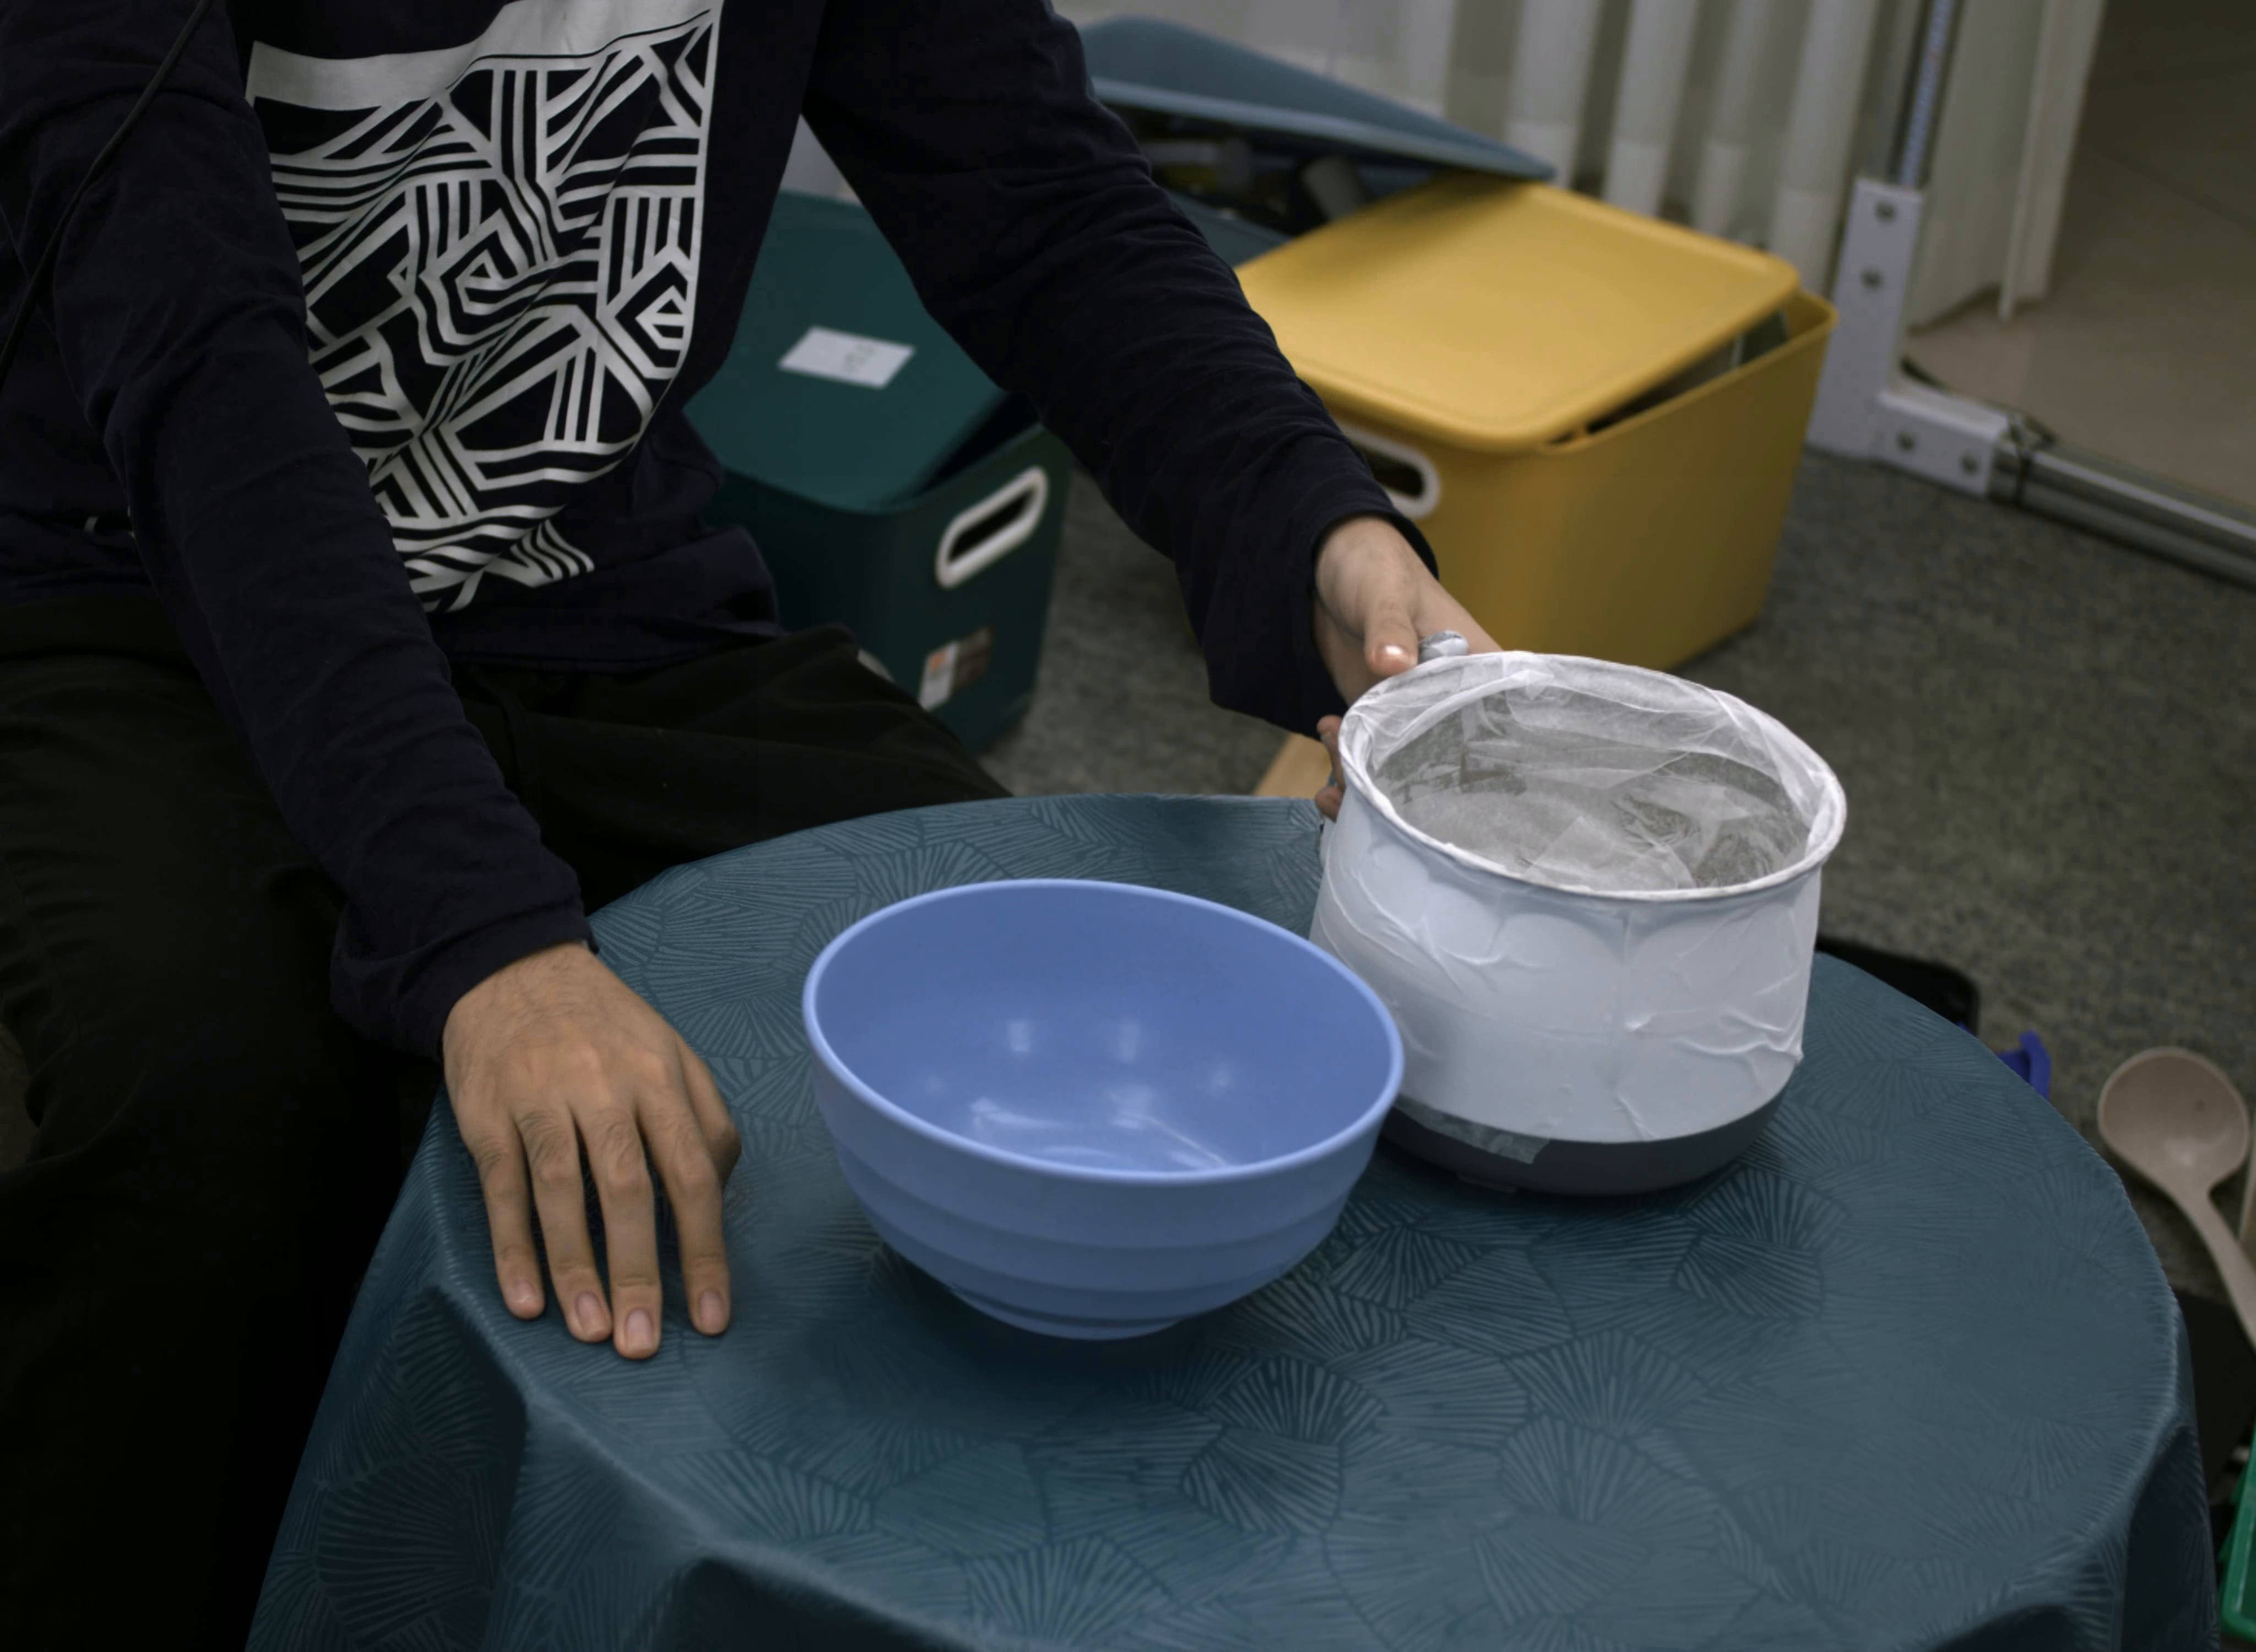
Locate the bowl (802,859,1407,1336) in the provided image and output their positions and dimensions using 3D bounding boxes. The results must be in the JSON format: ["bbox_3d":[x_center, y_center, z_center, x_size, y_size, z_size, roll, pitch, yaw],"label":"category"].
[{"bbox_3d":[-0.012,0.101,1.736,0.196,0.095,0.198,5,31,-3],"label":"bowl"}]

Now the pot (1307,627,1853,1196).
[{"bbox_3d":[0.139,0.023,1.880,0.177,0.136,0.236,-6,31,-30],"label":"pot"}]
